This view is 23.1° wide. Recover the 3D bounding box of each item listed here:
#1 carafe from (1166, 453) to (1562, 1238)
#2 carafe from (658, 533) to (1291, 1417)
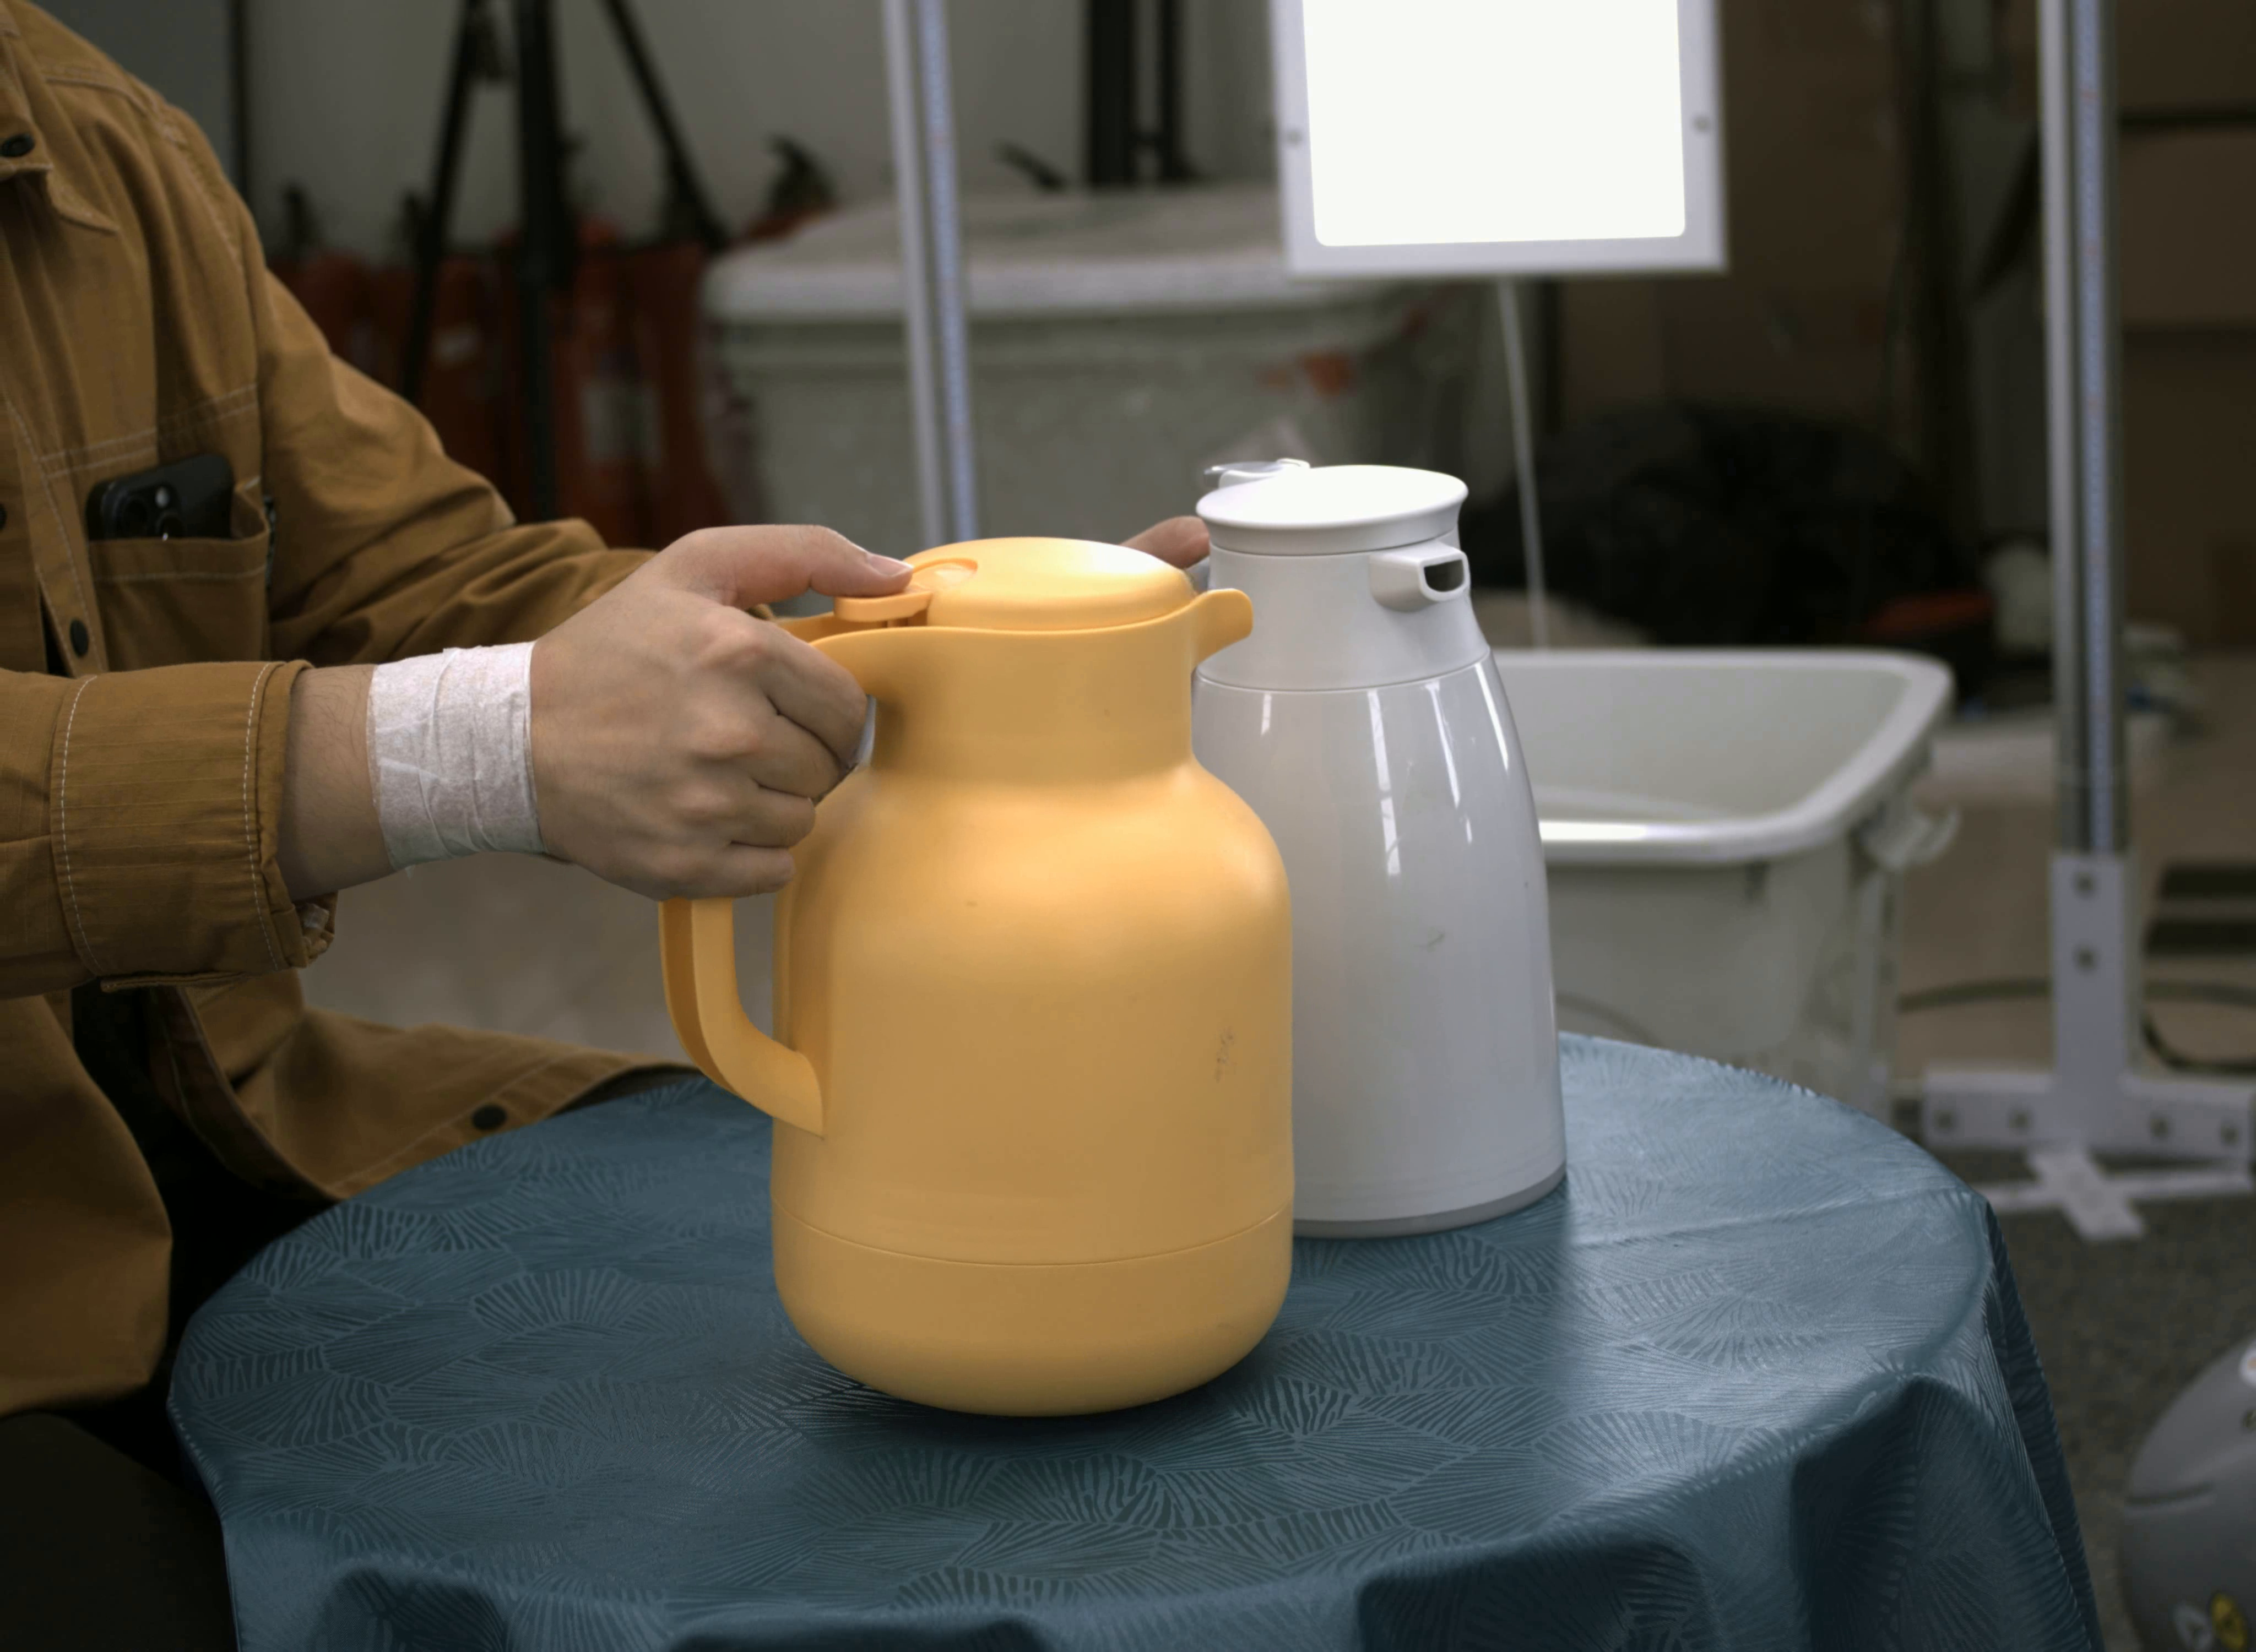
[{"bbox_3d":[0.064,-0.001,1.874,0.129,0.249,0.171,-13,16,-31],"label":"carafe"},{"bbox_3d":[-0.048,0.043,1.688,0.198,0.261,0.166,-5,13,-25],"label":"carafe"}]
